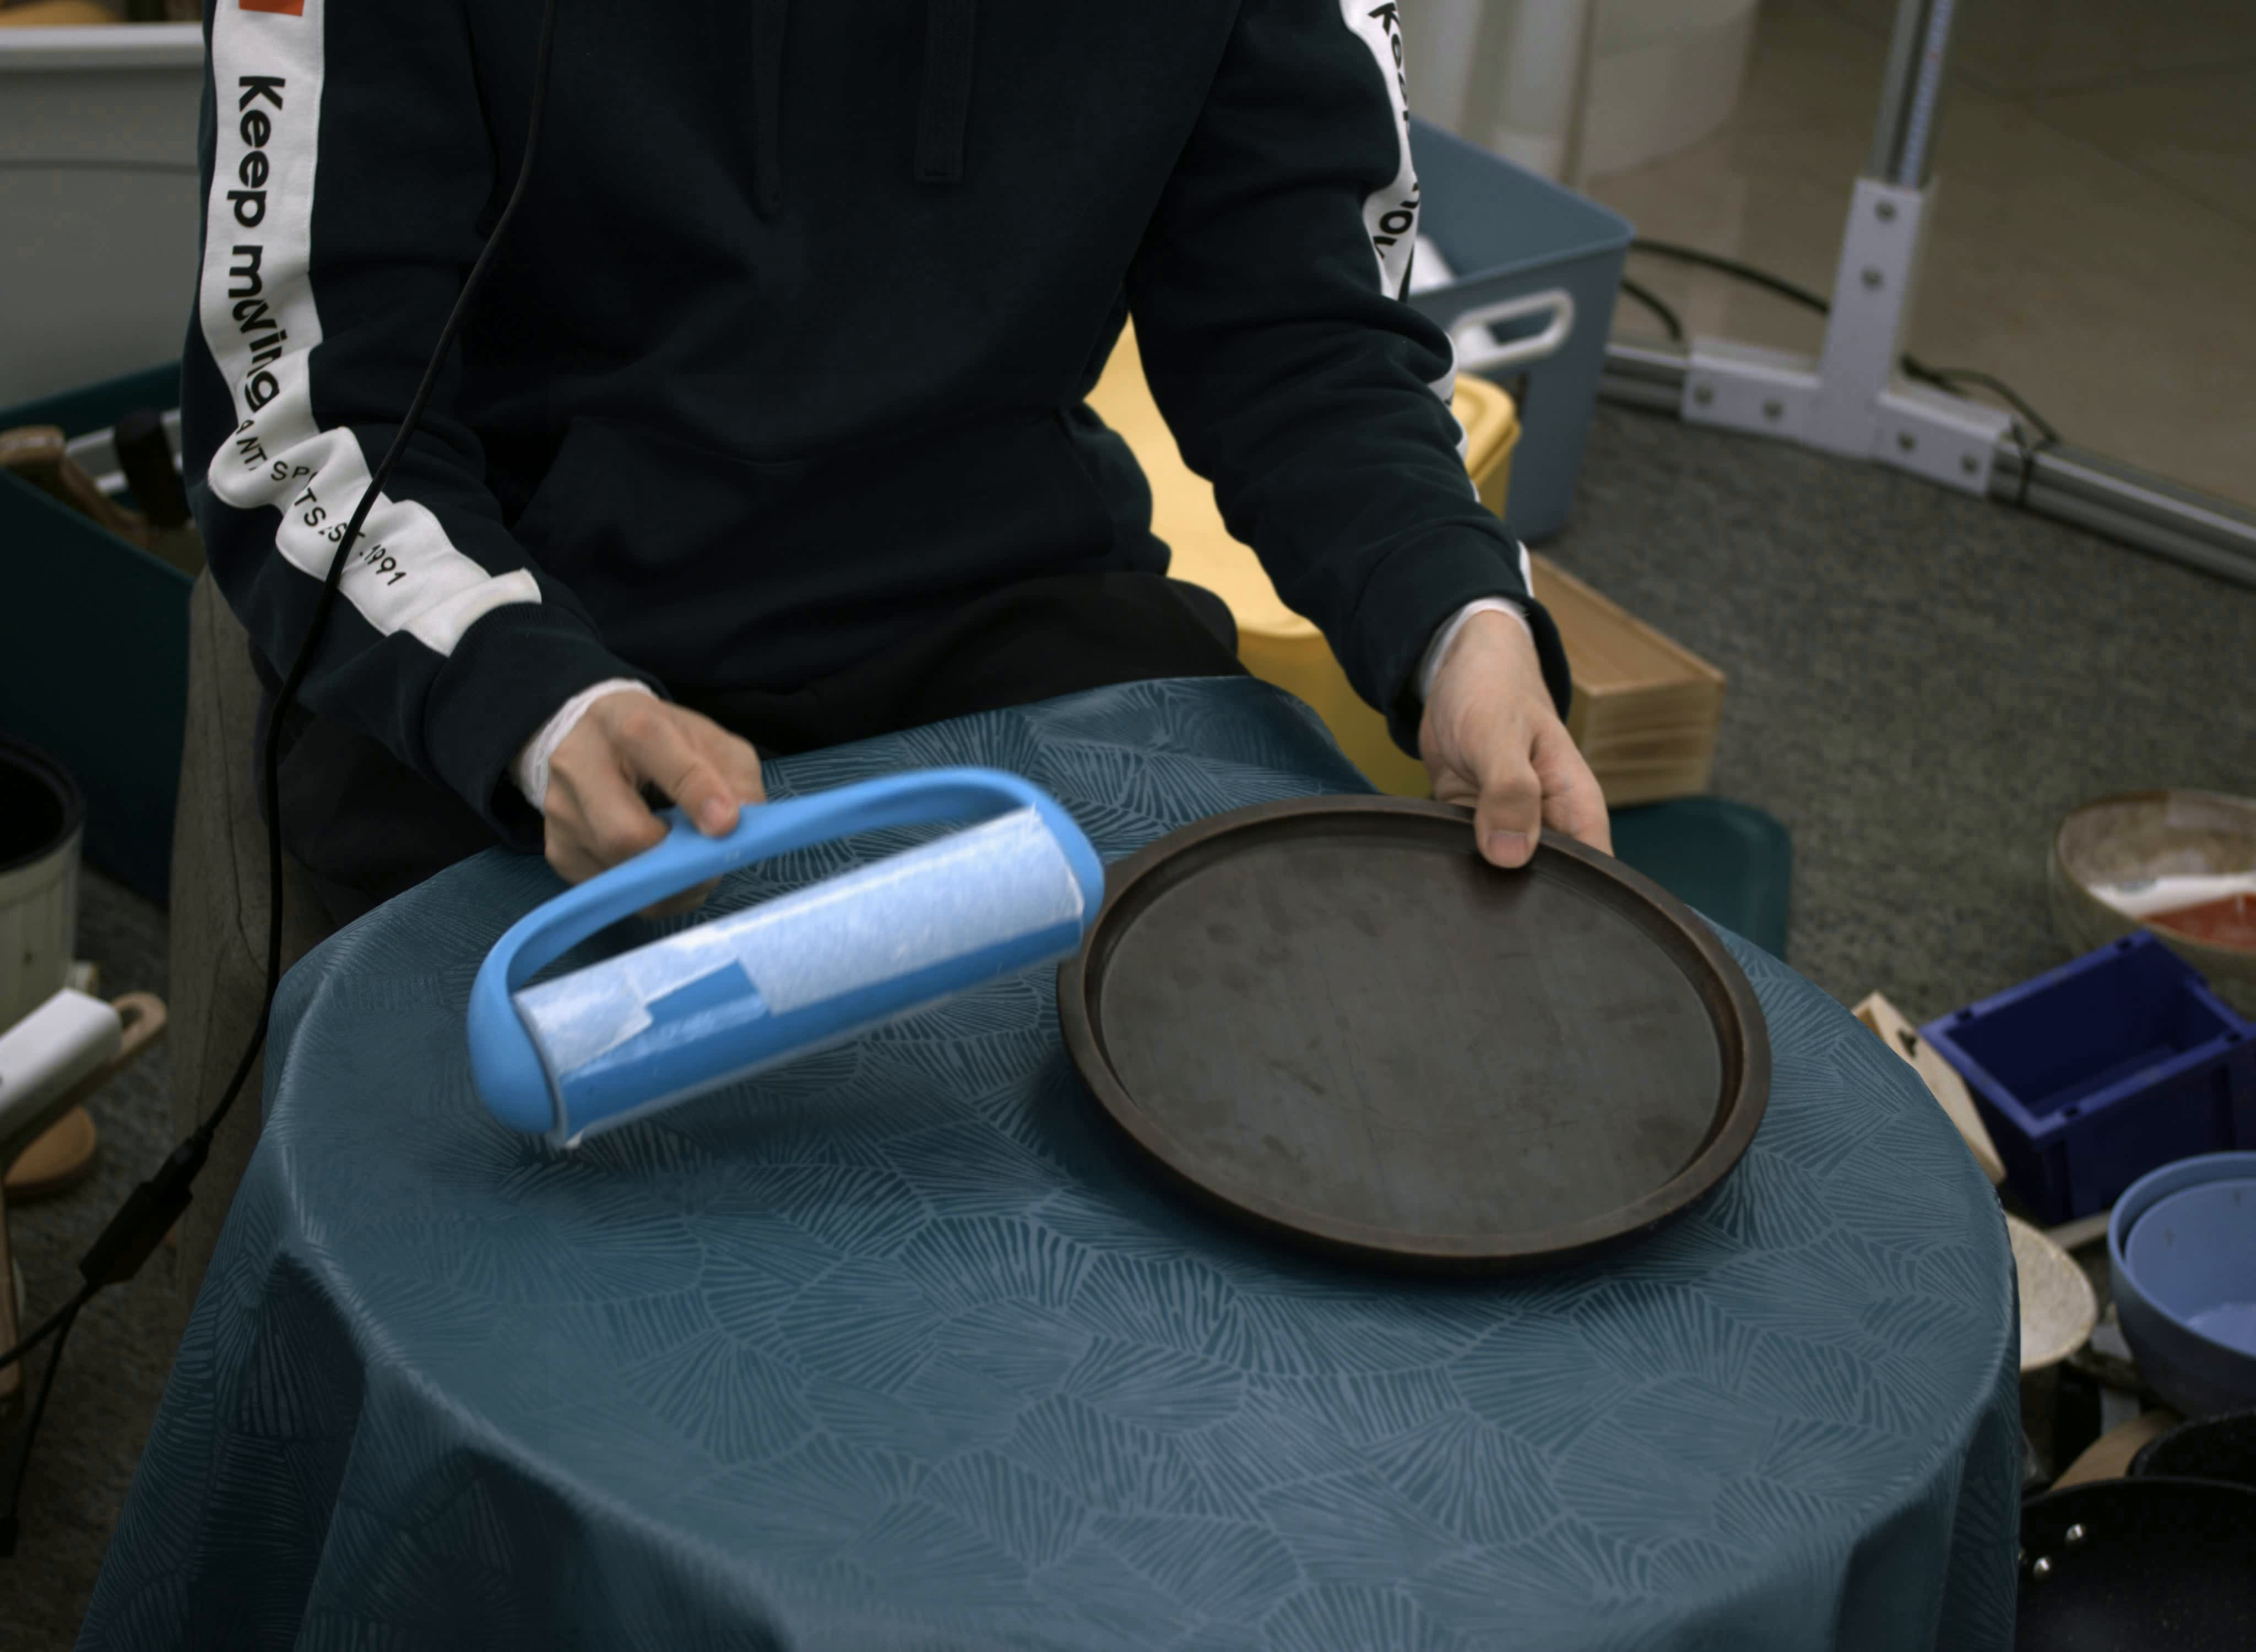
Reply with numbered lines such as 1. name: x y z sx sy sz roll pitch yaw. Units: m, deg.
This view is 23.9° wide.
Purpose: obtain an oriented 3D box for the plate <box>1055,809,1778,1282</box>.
1. plate: 0.100 0.074 1.854 0.254 0.029 0.257 4 37 -4

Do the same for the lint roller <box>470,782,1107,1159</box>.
1. lint roller: -0.140 0.031 1.831 0.228 0.067 0.182 -22 32 -21
